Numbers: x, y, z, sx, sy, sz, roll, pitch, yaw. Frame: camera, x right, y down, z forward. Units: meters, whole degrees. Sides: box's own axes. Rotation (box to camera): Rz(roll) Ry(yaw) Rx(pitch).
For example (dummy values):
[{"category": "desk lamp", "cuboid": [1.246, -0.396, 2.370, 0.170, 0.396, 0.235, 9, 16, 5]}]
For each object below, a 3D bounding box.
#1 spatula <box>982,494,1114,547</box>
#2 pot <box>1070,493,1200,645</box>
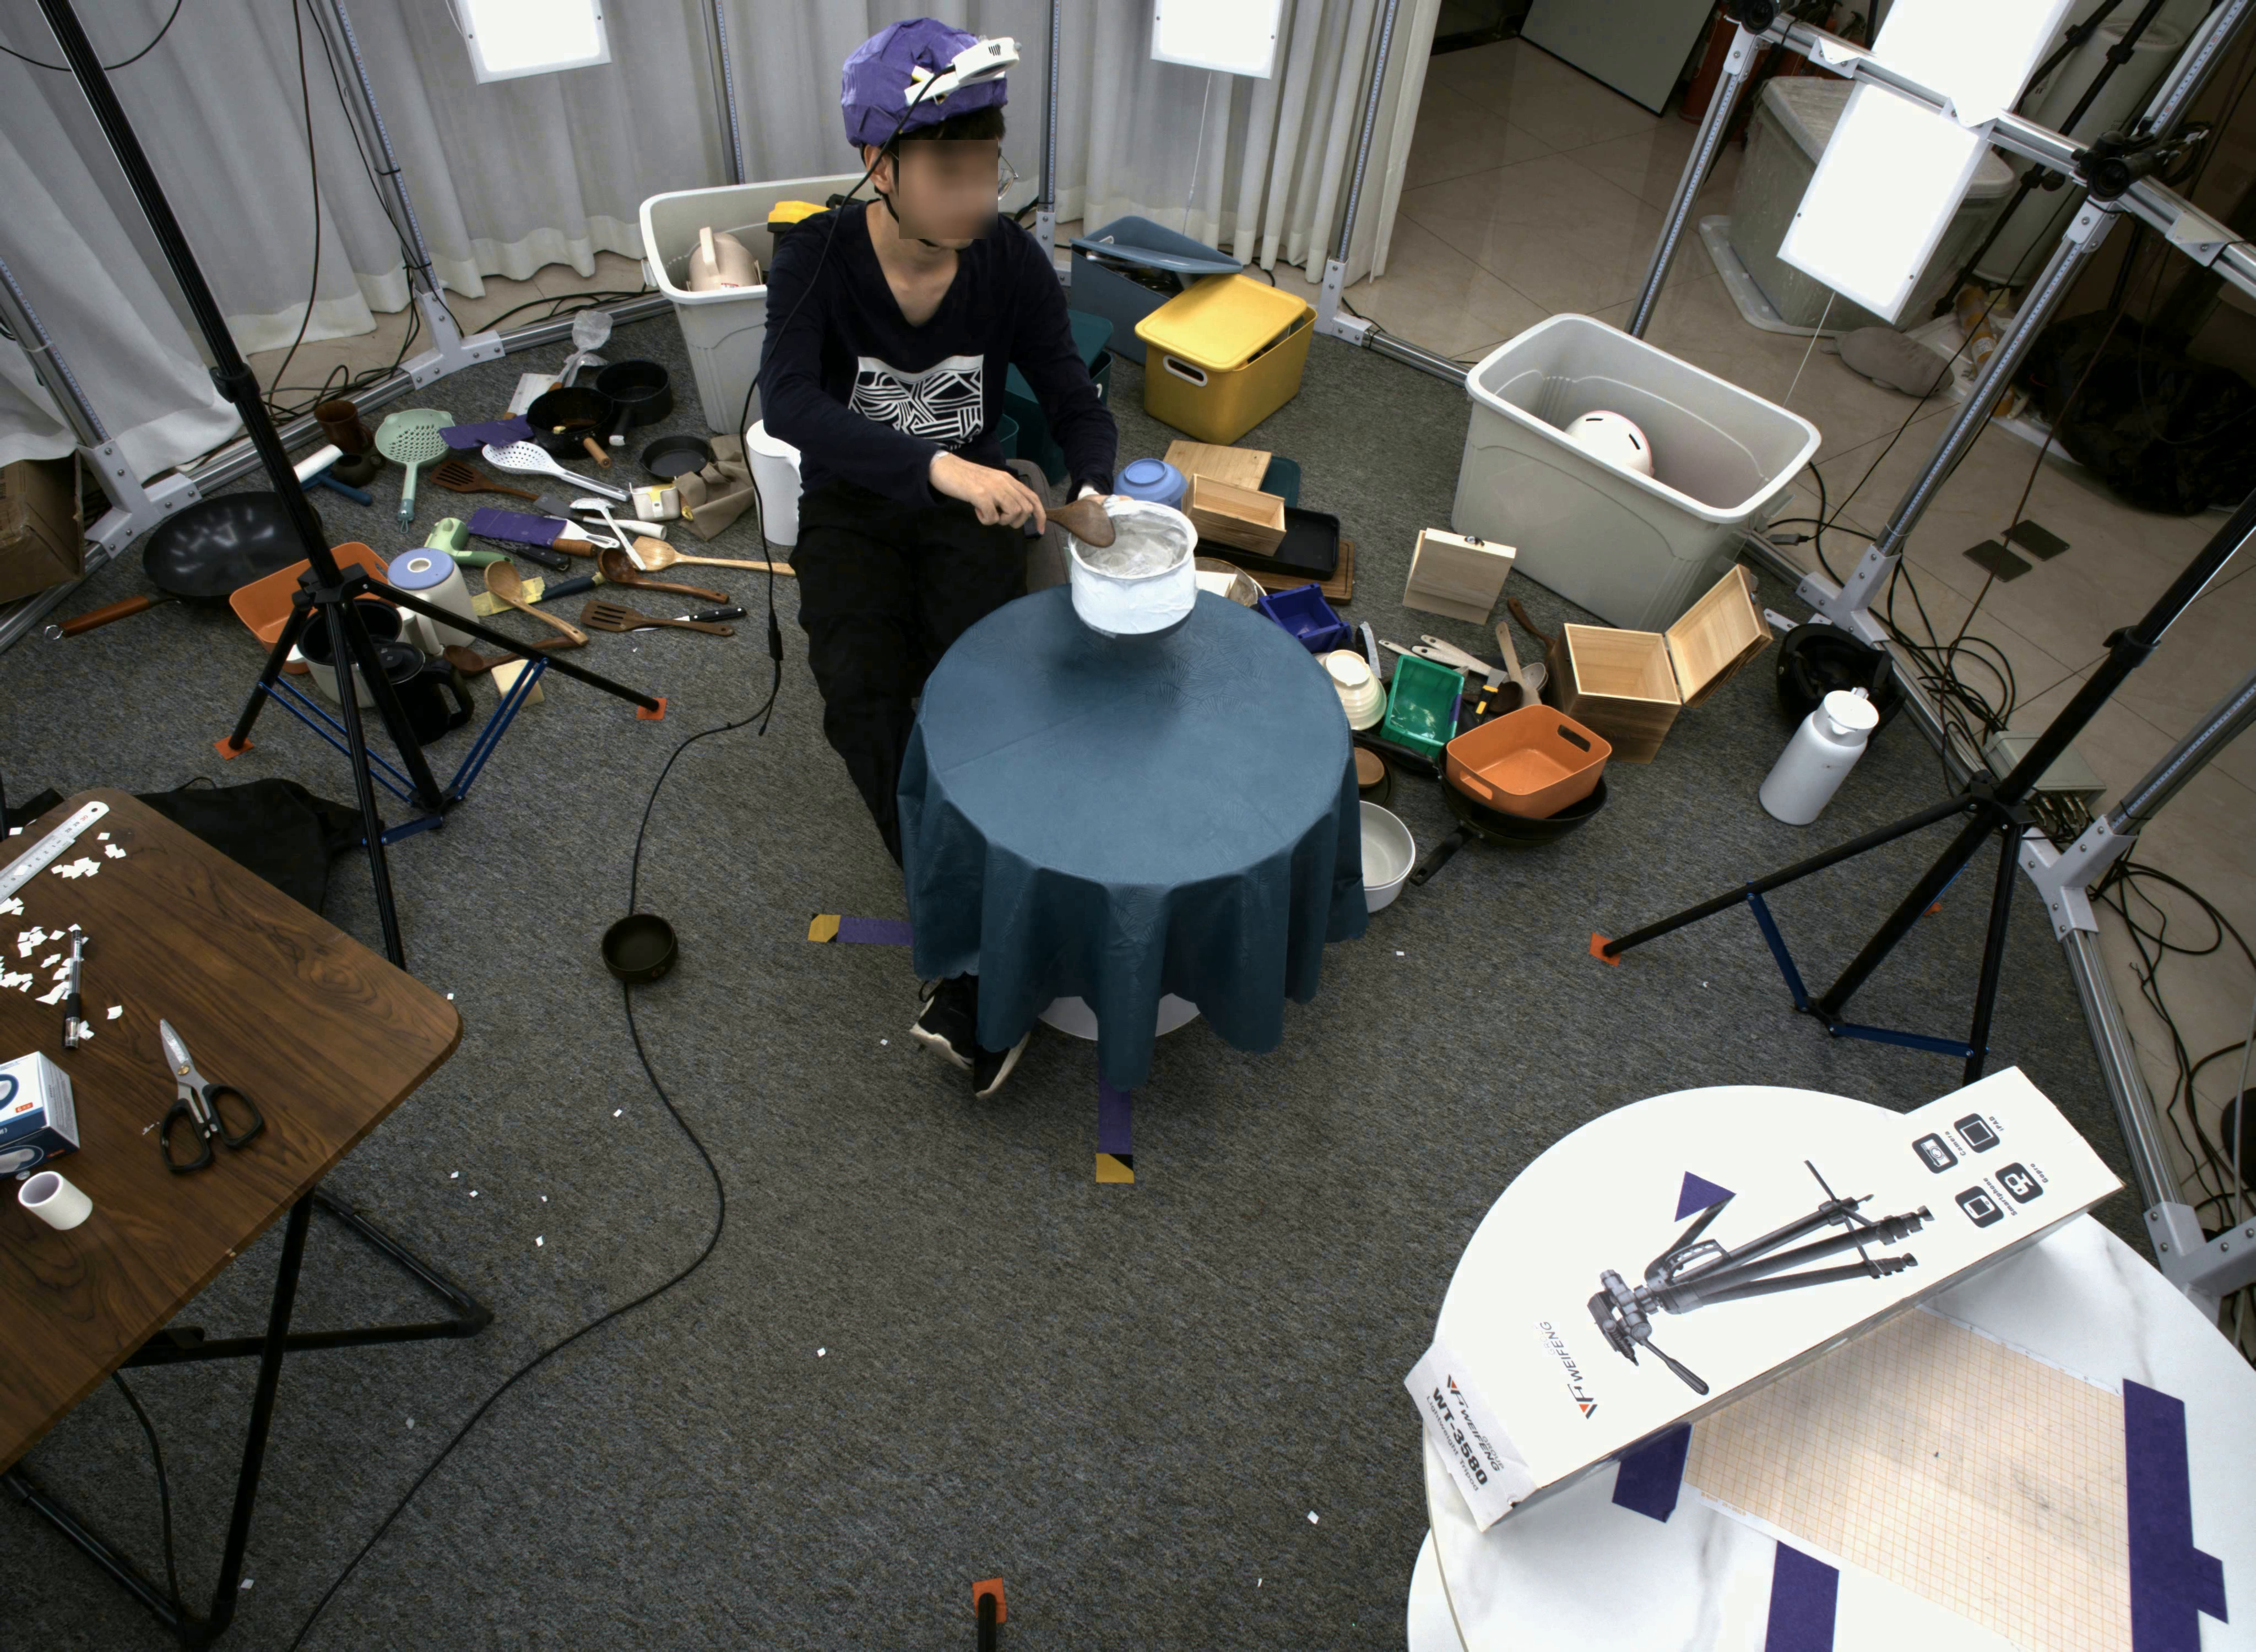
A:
[{"category": "spatula", "cuboid": [-0.105, -0.420, 1.741, 0.214, 0.009, 0.073, 3, 66, -37]}, {"category": "pot", "cuboid": [0.000, -0.372, 1.822, 0.178, 0.133, 0.239, -13, 49, -12]}]
